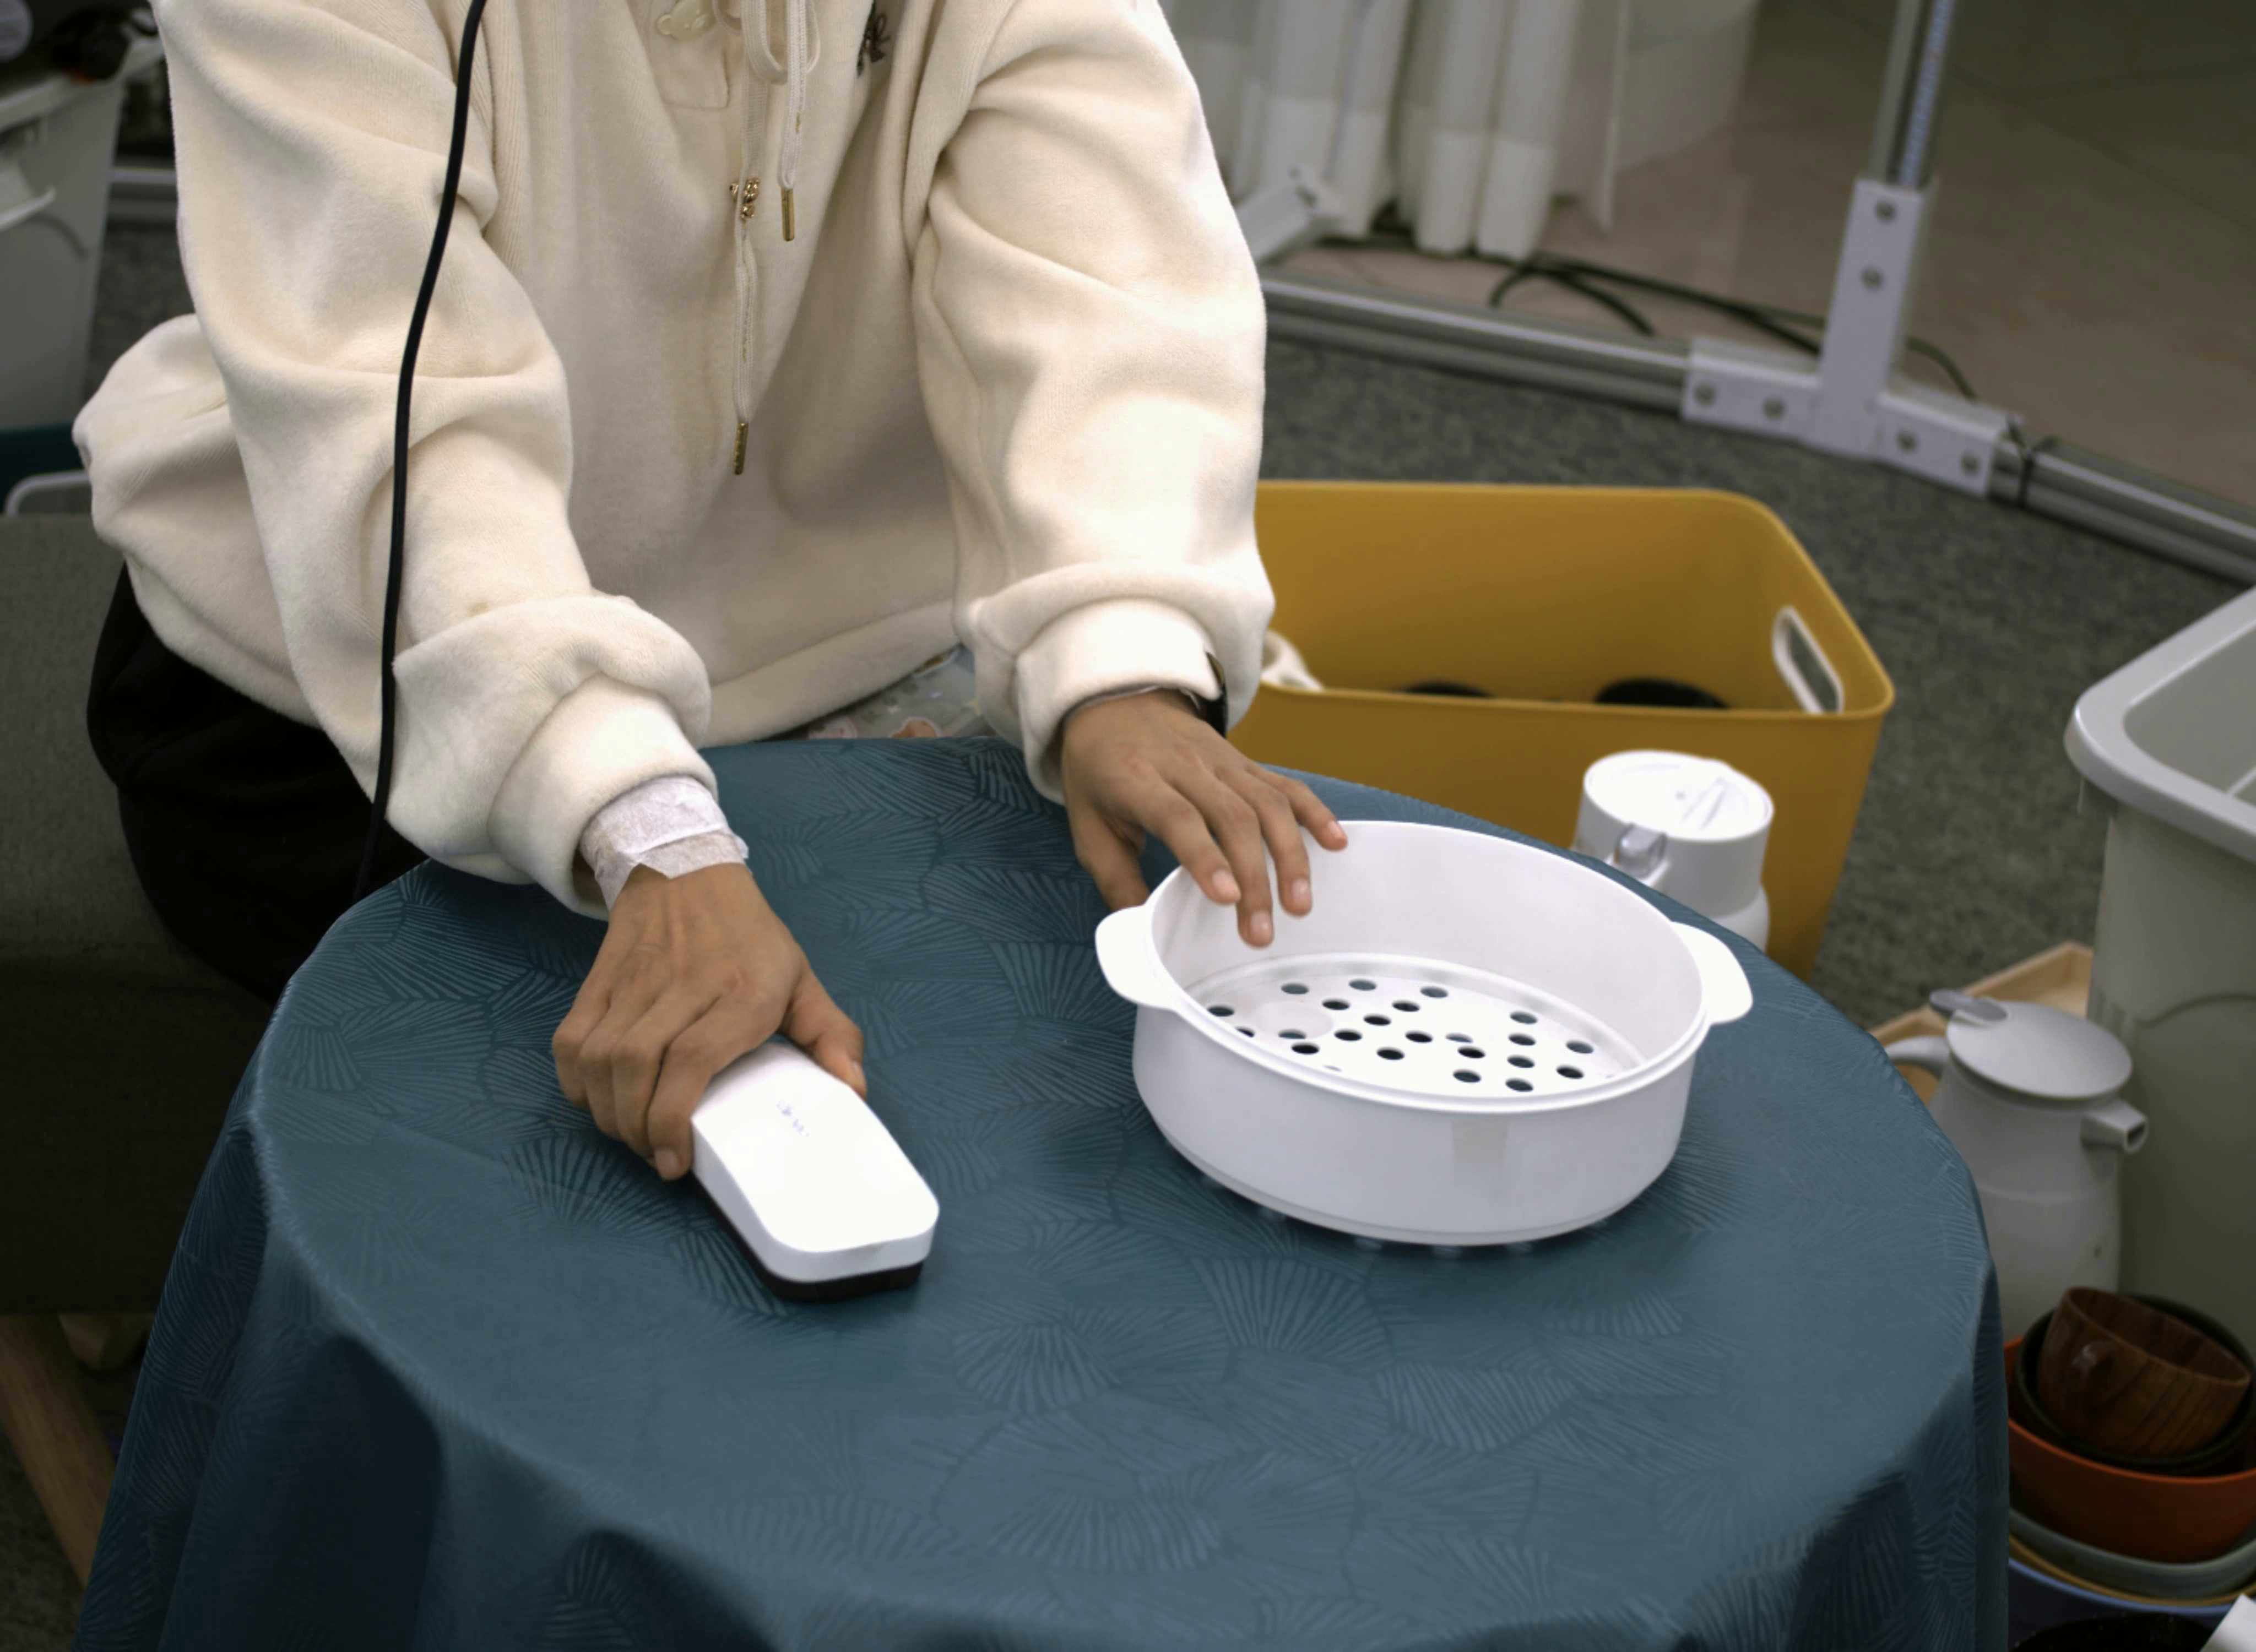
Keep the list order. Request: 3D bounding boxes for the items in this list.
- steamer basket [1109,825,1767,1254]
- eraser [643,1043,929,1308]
[{"bbox_3d":[0.105,0.073,1.851,0.229,0.069,0.203,2,27,-10],"label":"steamer basket"},{"bbox_3d":[-0.114,0.112,1.766,0.063,0.034,0.132,-7,30,-24],"label":"eraser"}]
